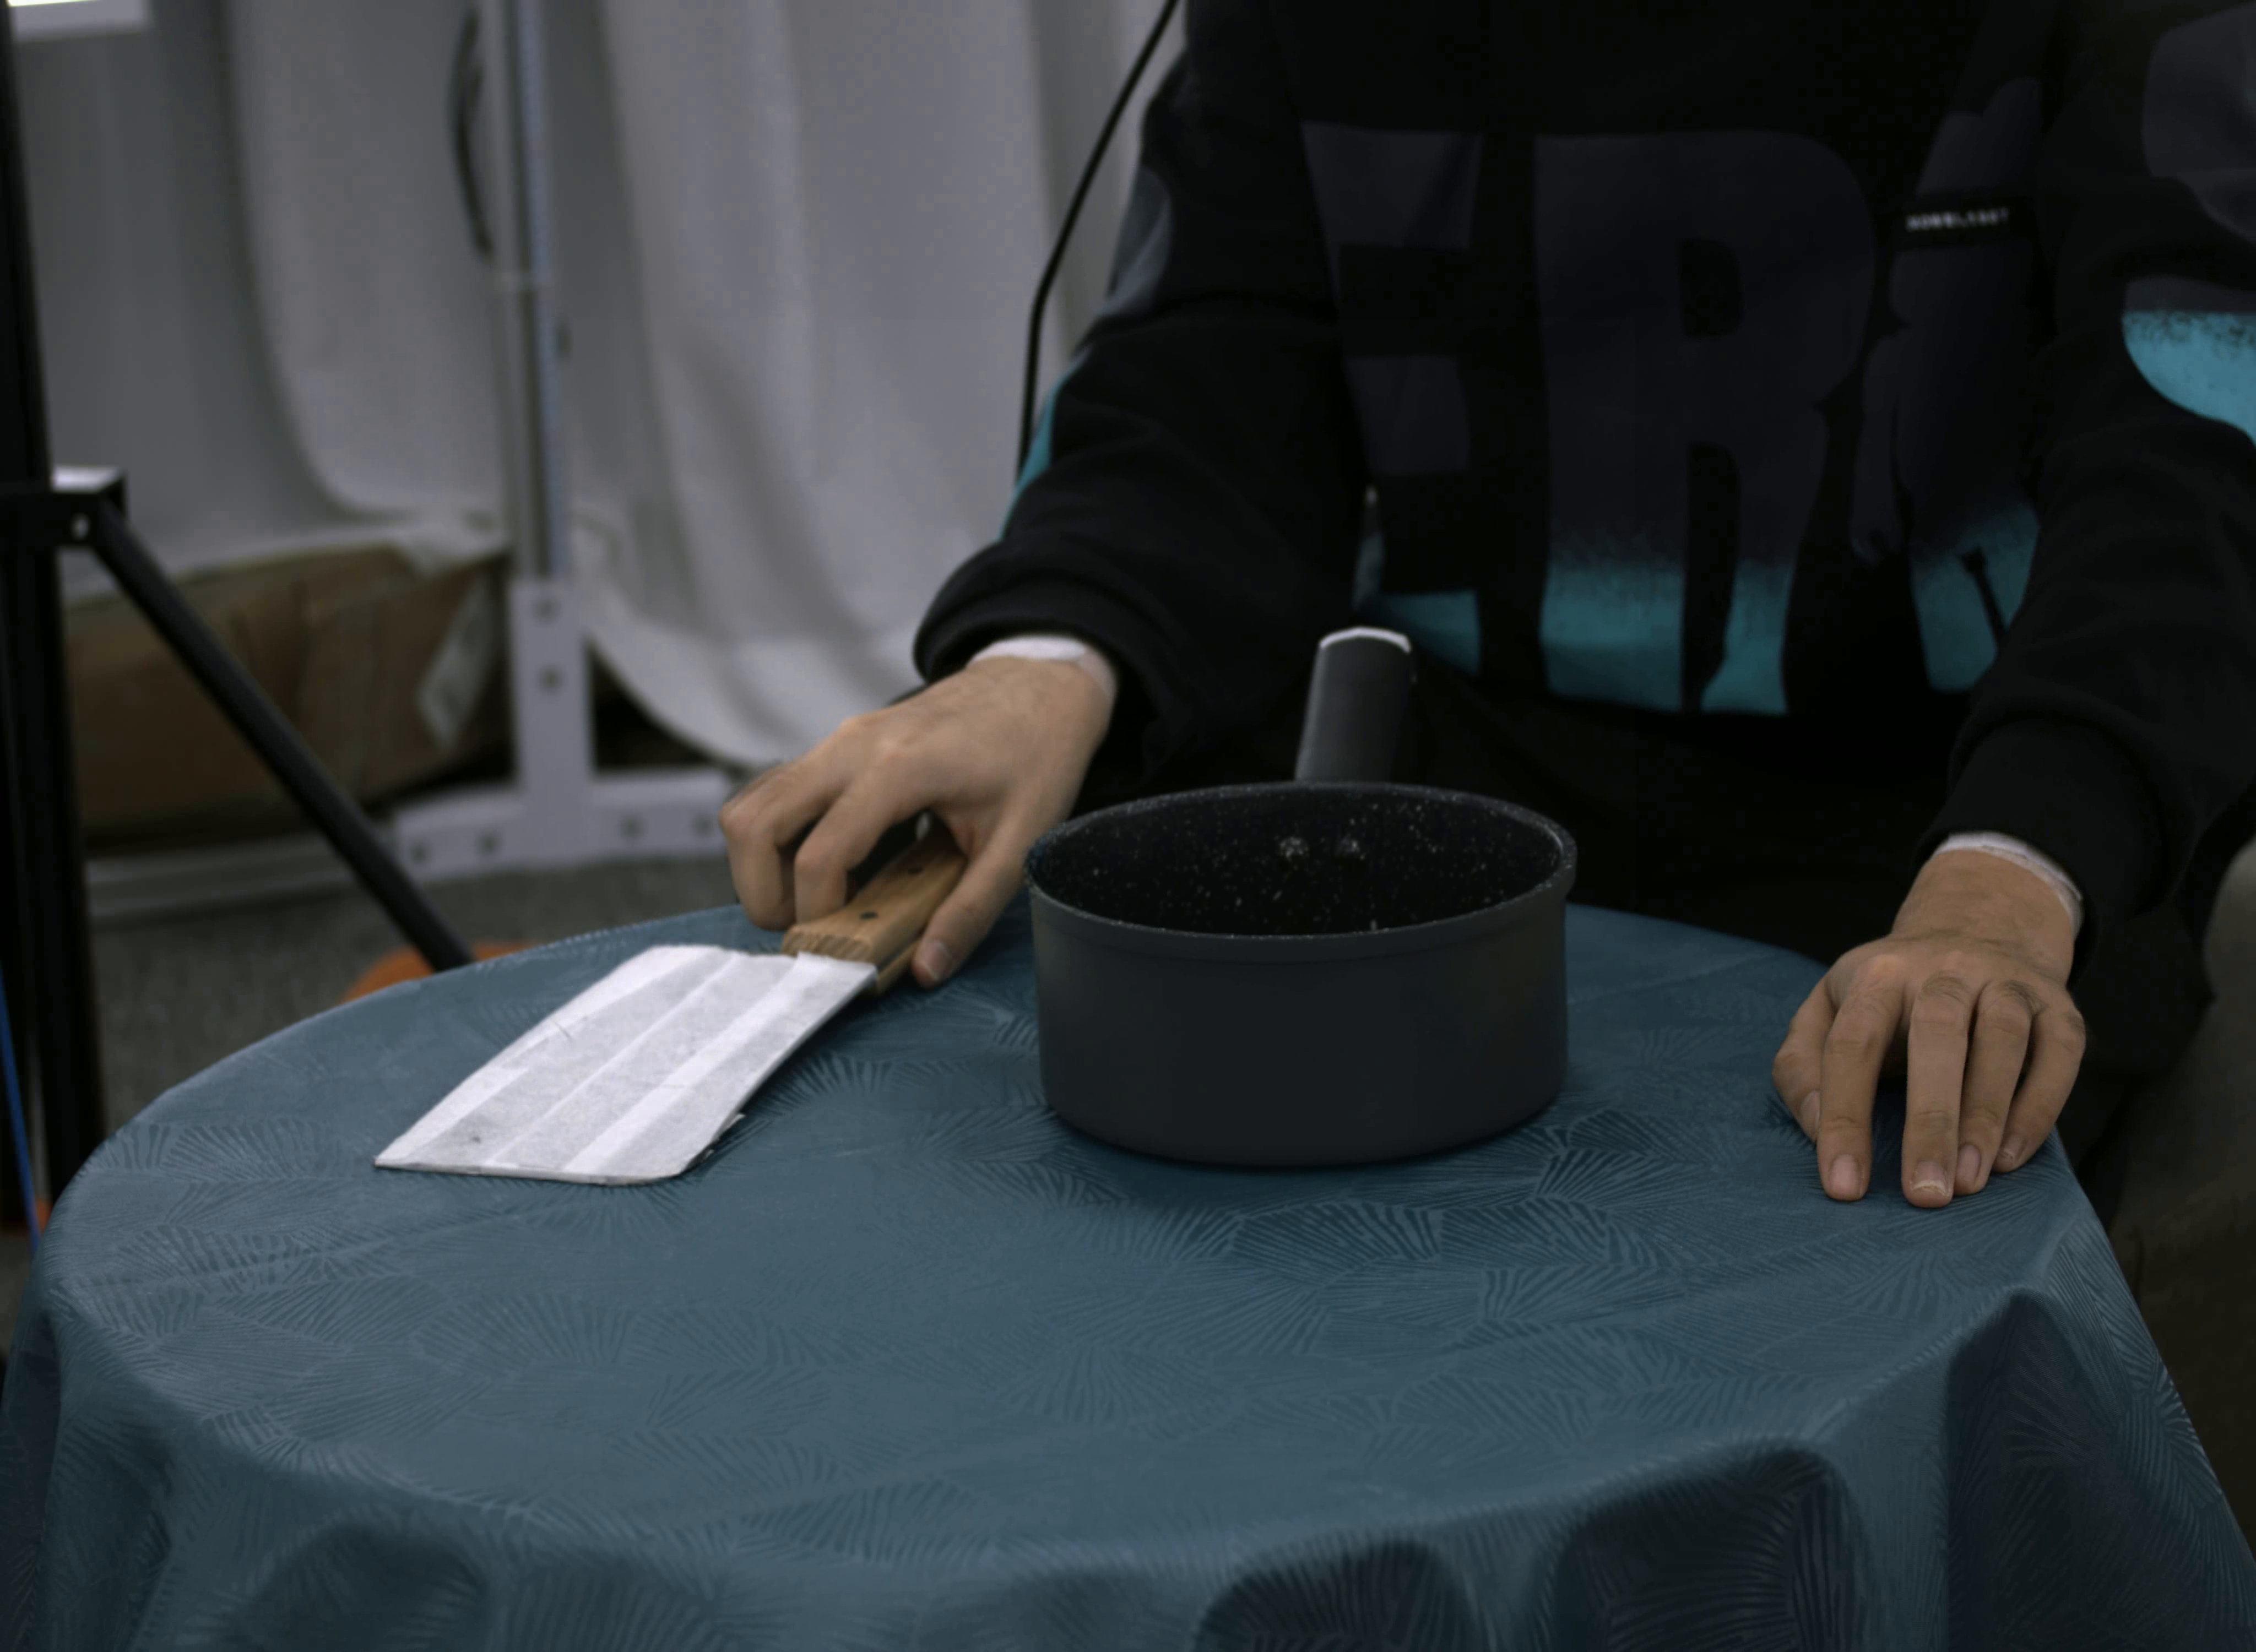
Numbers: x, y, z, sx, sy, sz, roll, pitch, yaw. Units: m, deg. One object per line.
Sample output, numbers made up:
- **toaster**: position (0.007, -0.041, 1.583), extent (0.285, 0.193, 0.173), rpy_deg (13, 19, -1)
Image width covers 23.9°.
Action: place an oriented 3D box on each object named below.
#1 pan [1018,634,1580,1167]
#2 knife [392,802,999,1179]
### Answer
- **pan**: position (0.066, 0.021, 1.702), extent (0.173, 0.086, 0.327), rpy_deg (3, 17, 10)
- **knife**: position (-0.122, 0.053, 1.722), extent (0.116, 0.021, 0.311), rpy_deg (5, 22, 26)
